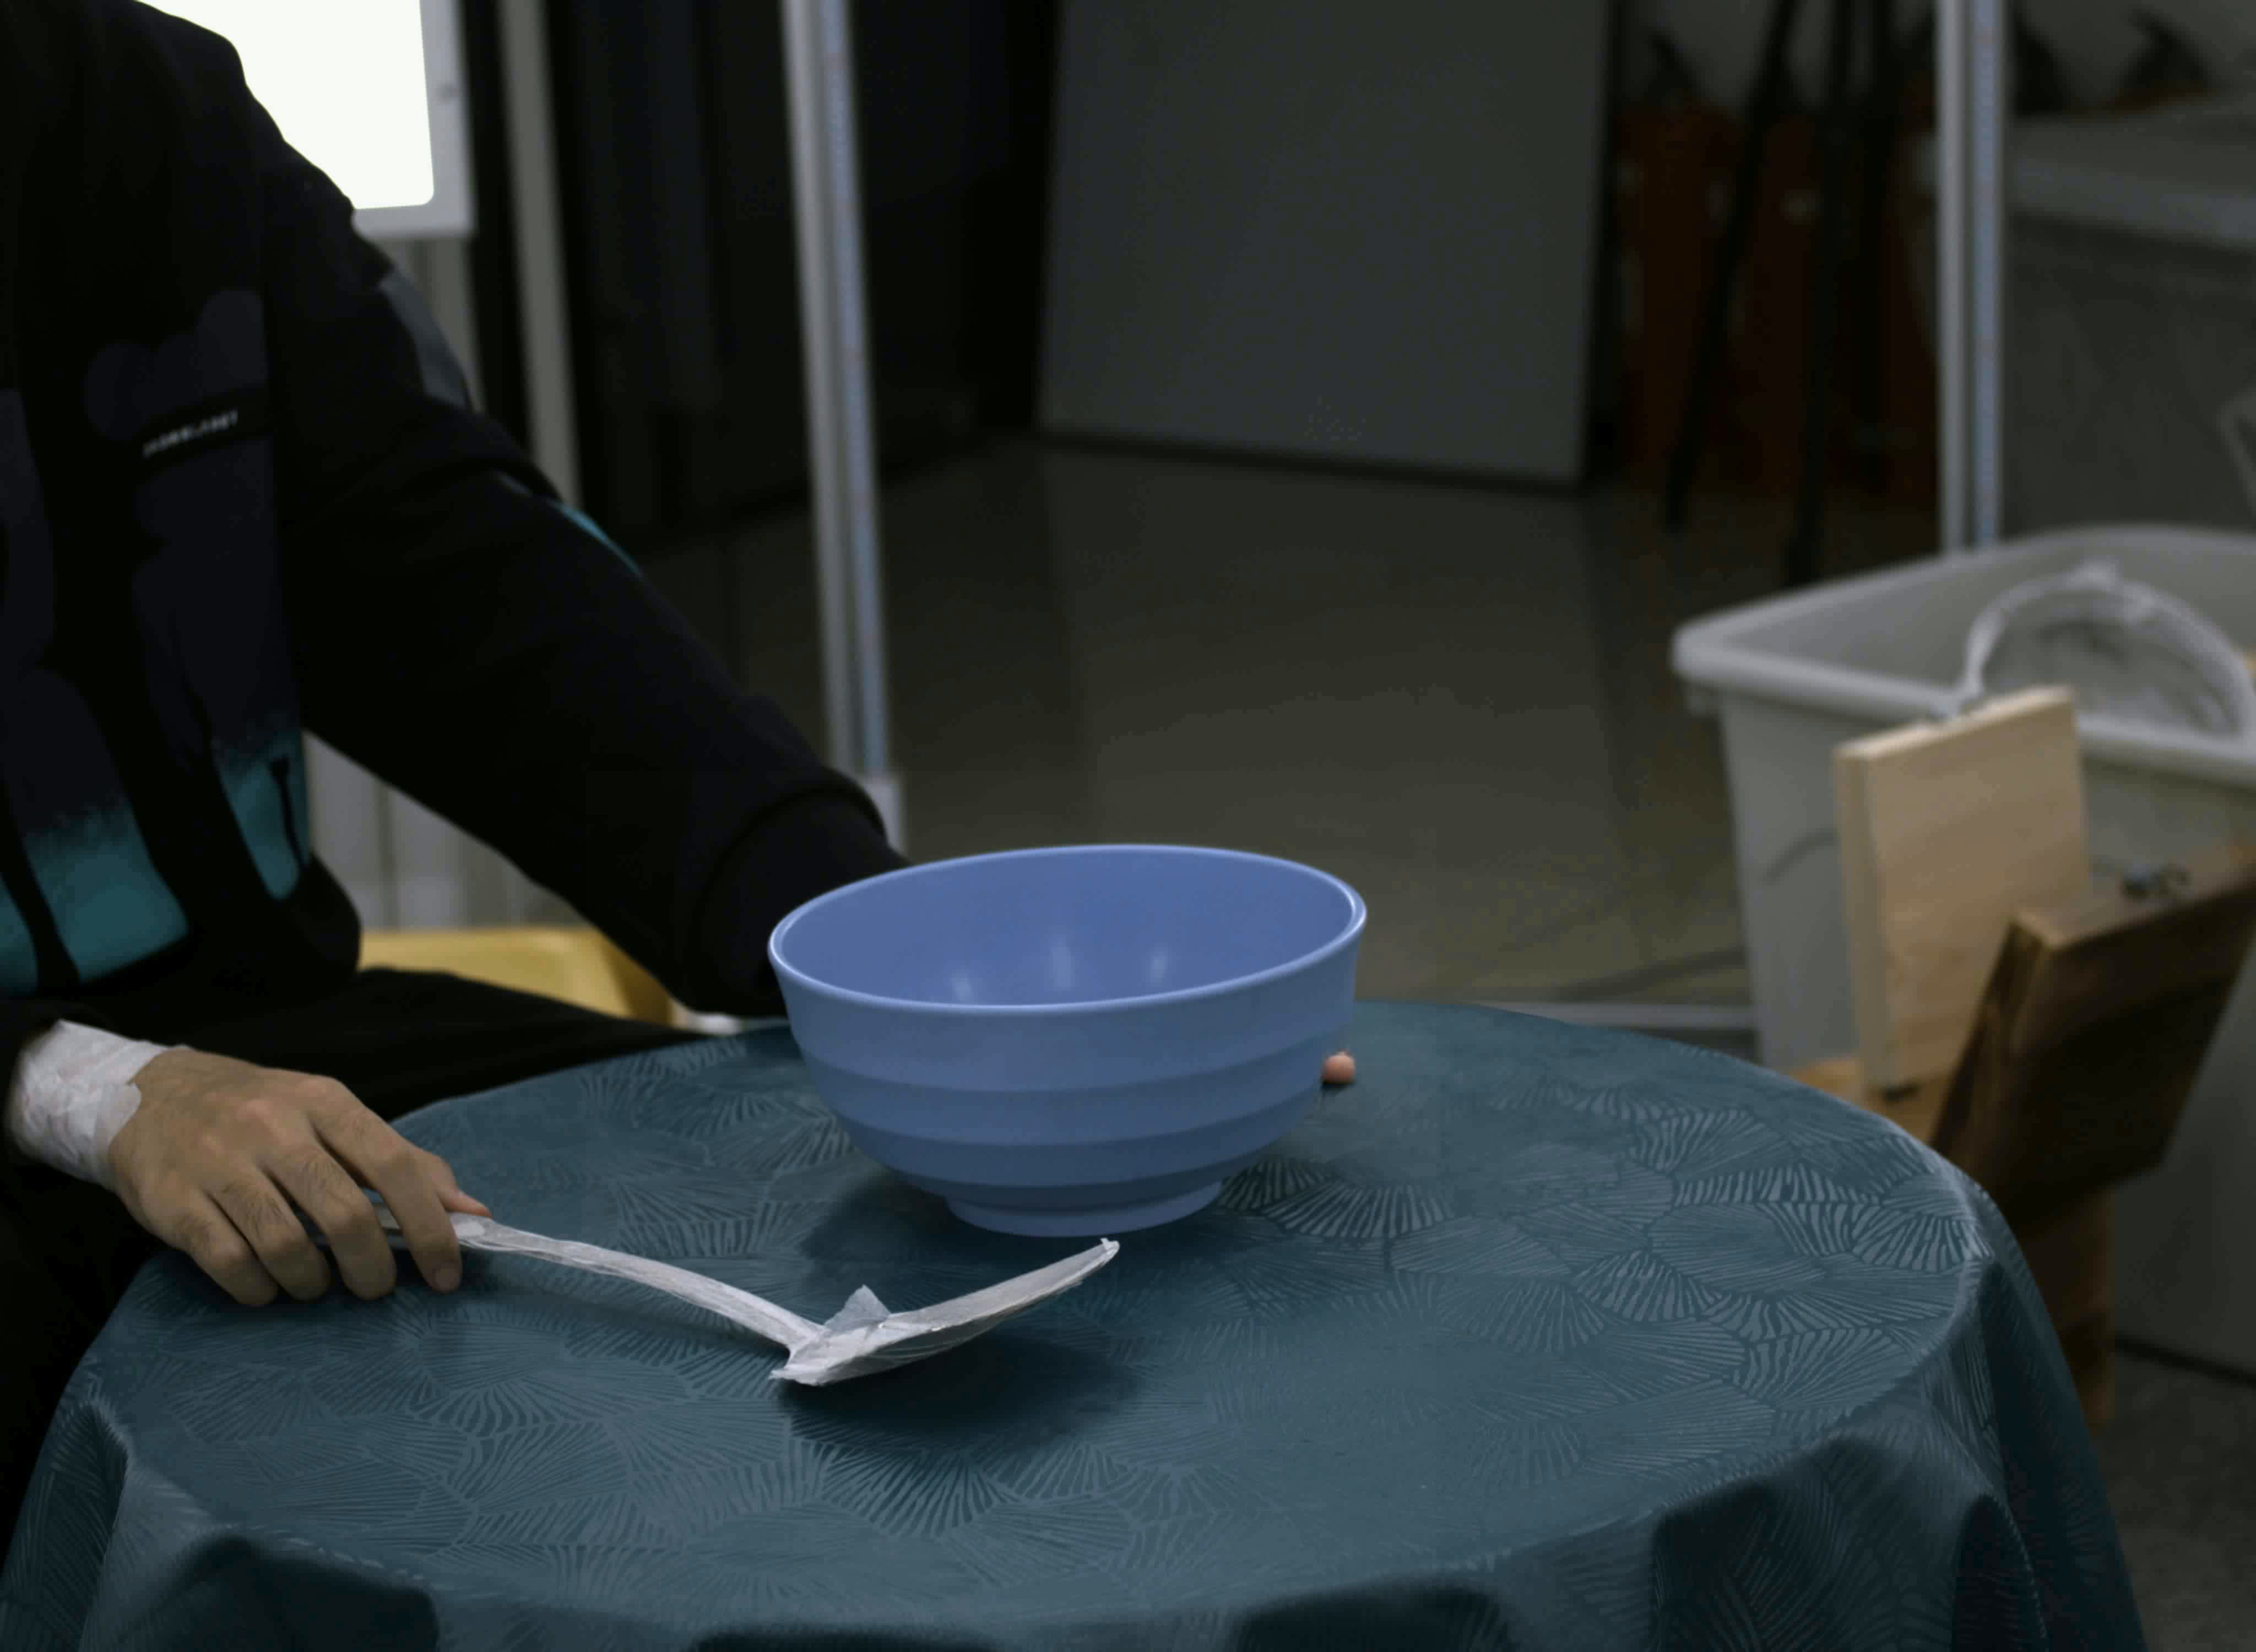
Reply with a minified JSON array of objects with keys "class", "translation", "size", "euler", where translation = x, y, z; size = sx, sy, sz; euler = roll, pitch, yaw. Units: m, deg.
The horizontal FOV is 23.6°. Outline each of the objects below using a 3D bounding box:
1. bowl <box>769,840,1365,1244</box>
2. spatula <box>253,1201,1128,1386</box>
[{"class":"bowl","translation":[-0.017,0.076,1.761],"size":[0.194,0.096,0.197],"euler":[-5,15,0]},{"class":"spatula","translation":[-0.157,0.134,1.687],"size":[0.368,0.045,0.097],"euler":[8,20,39]}]
